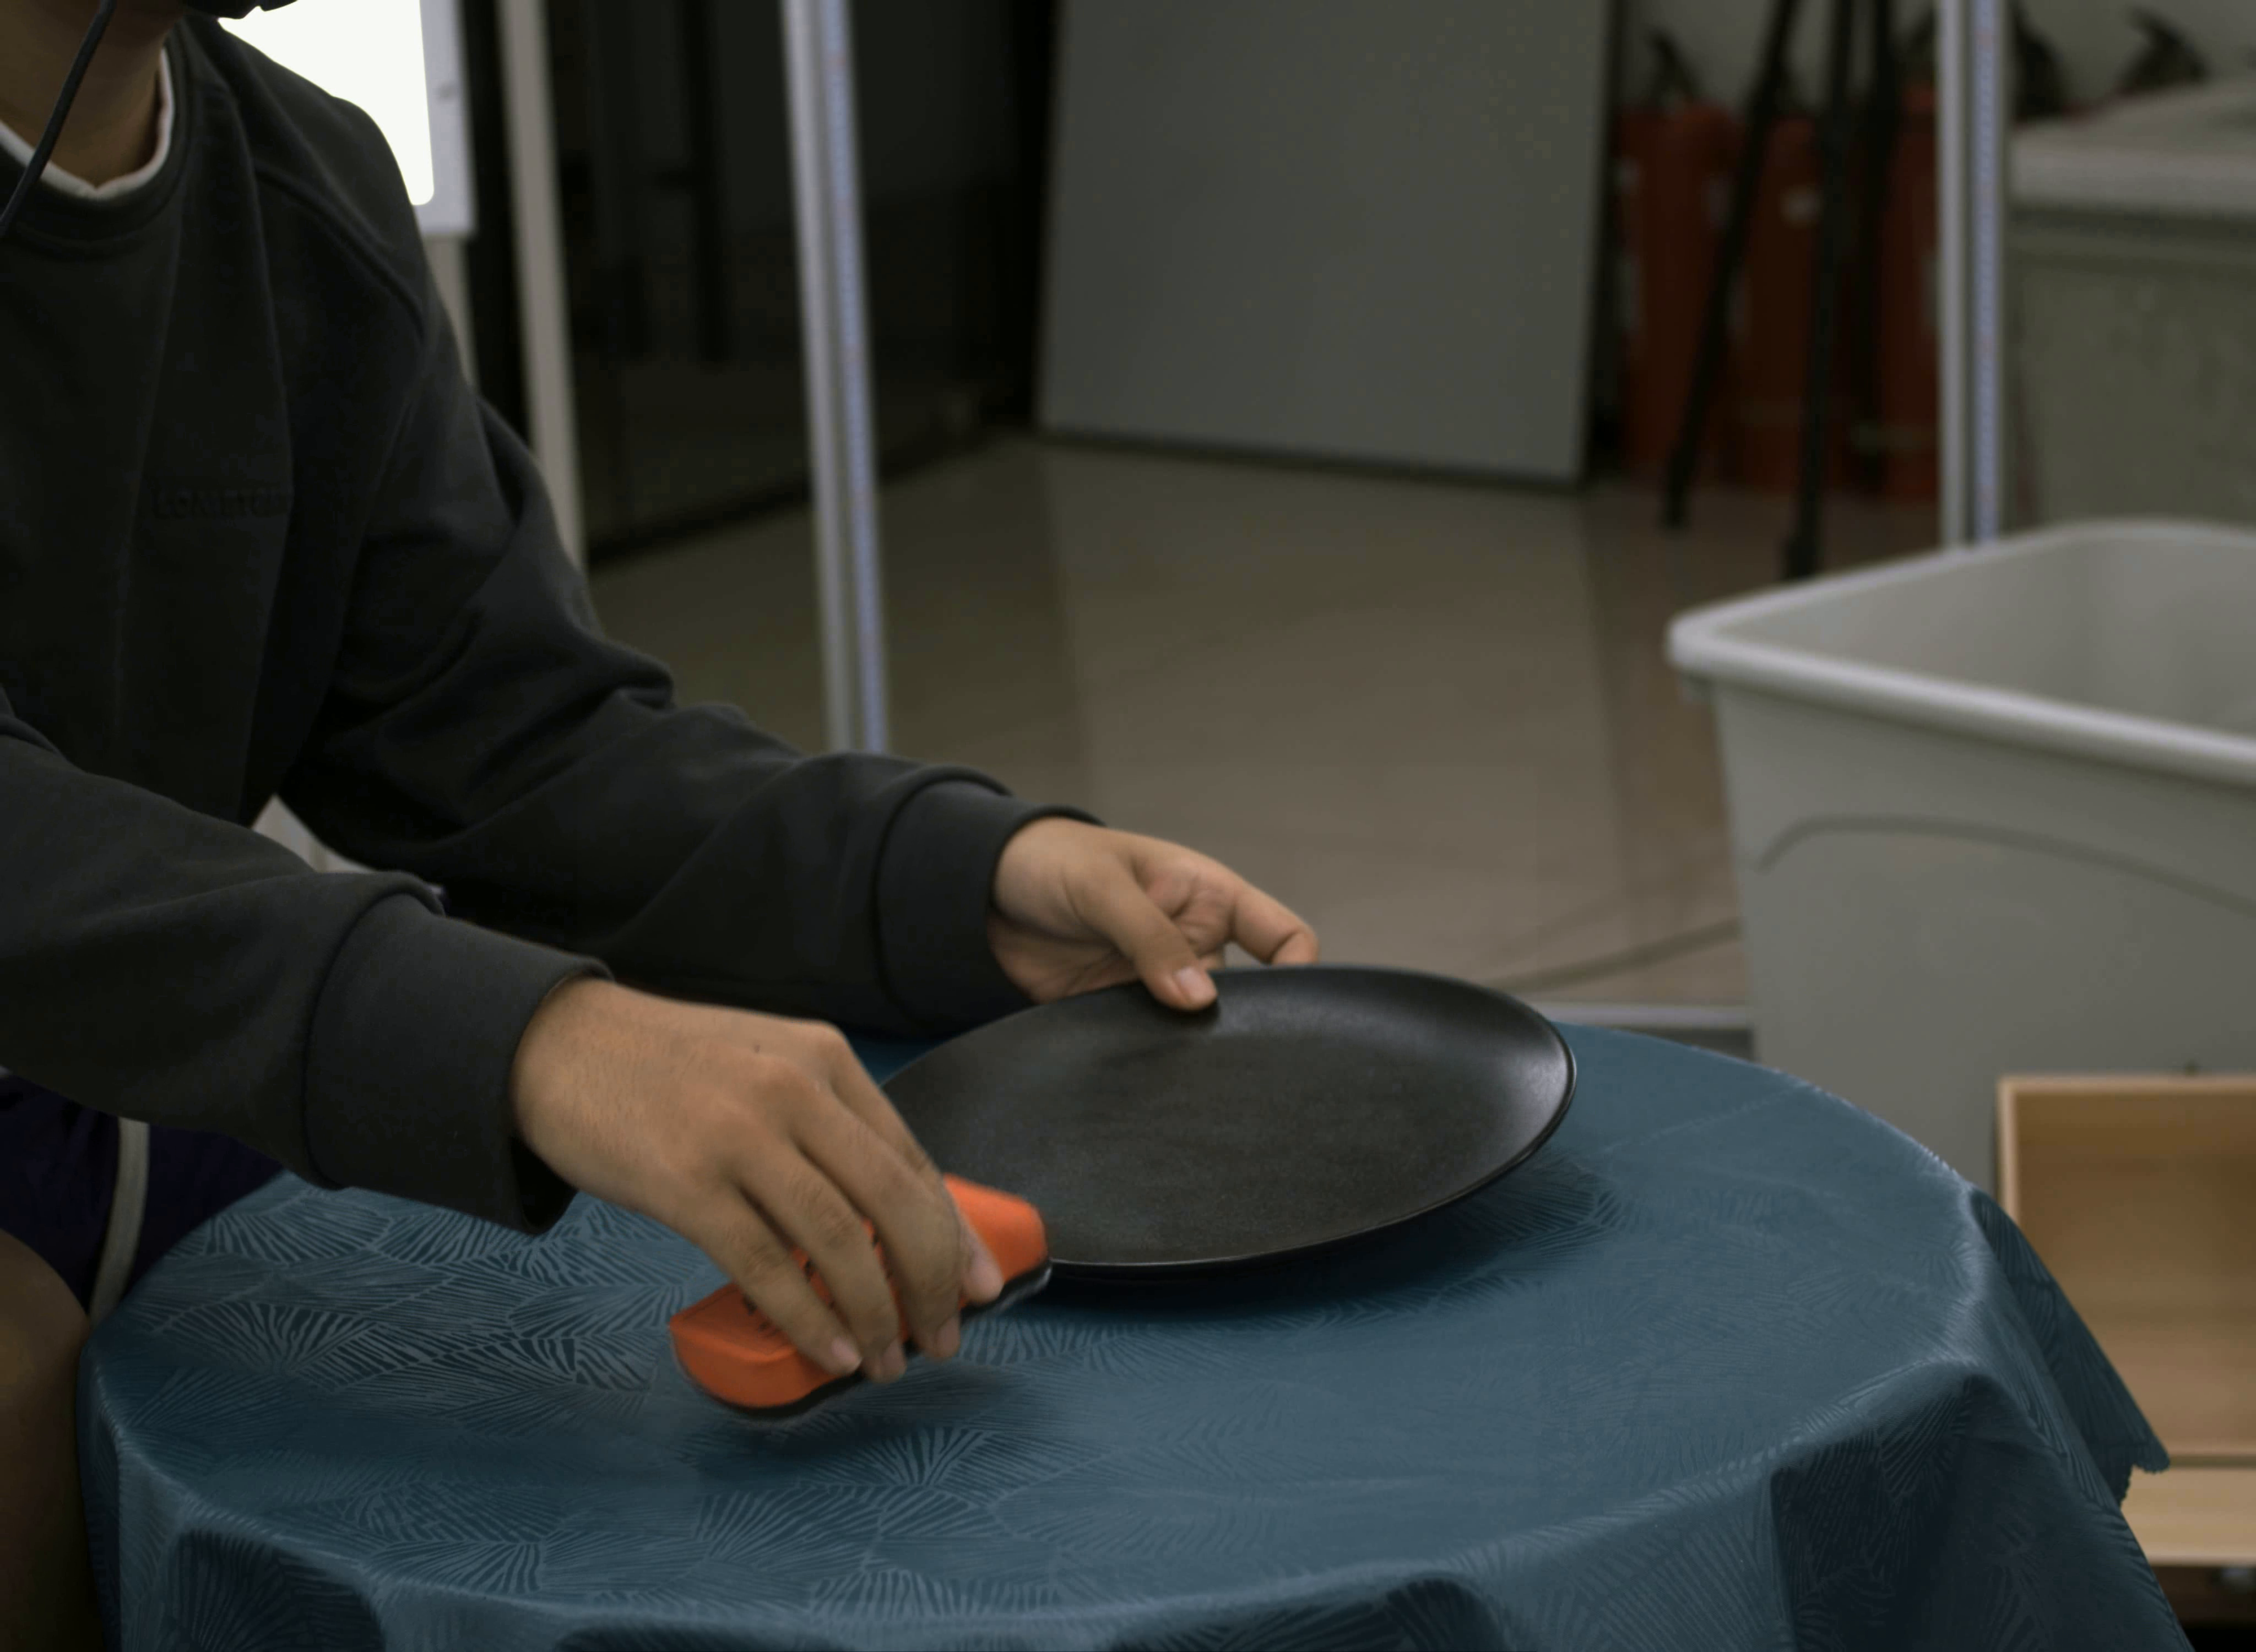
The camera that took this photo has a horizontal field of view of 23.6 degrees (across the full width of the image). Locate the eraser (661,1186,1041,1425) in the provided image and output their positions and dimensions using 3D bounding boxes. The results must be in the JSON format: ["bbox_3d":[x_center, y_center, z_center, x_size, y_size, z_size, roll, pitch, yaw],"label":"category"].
[{"bbox_3d":[-0.081,0.139,1.581,0.106,0.023,0.059,-25,24,-34],"label":"eraser"}]

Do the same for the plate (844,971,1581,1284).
[{"bbox_3d":[0.028,0.102,1.754,0.241,0.023,0.245,-8,18,2],"label":"plate"}]
